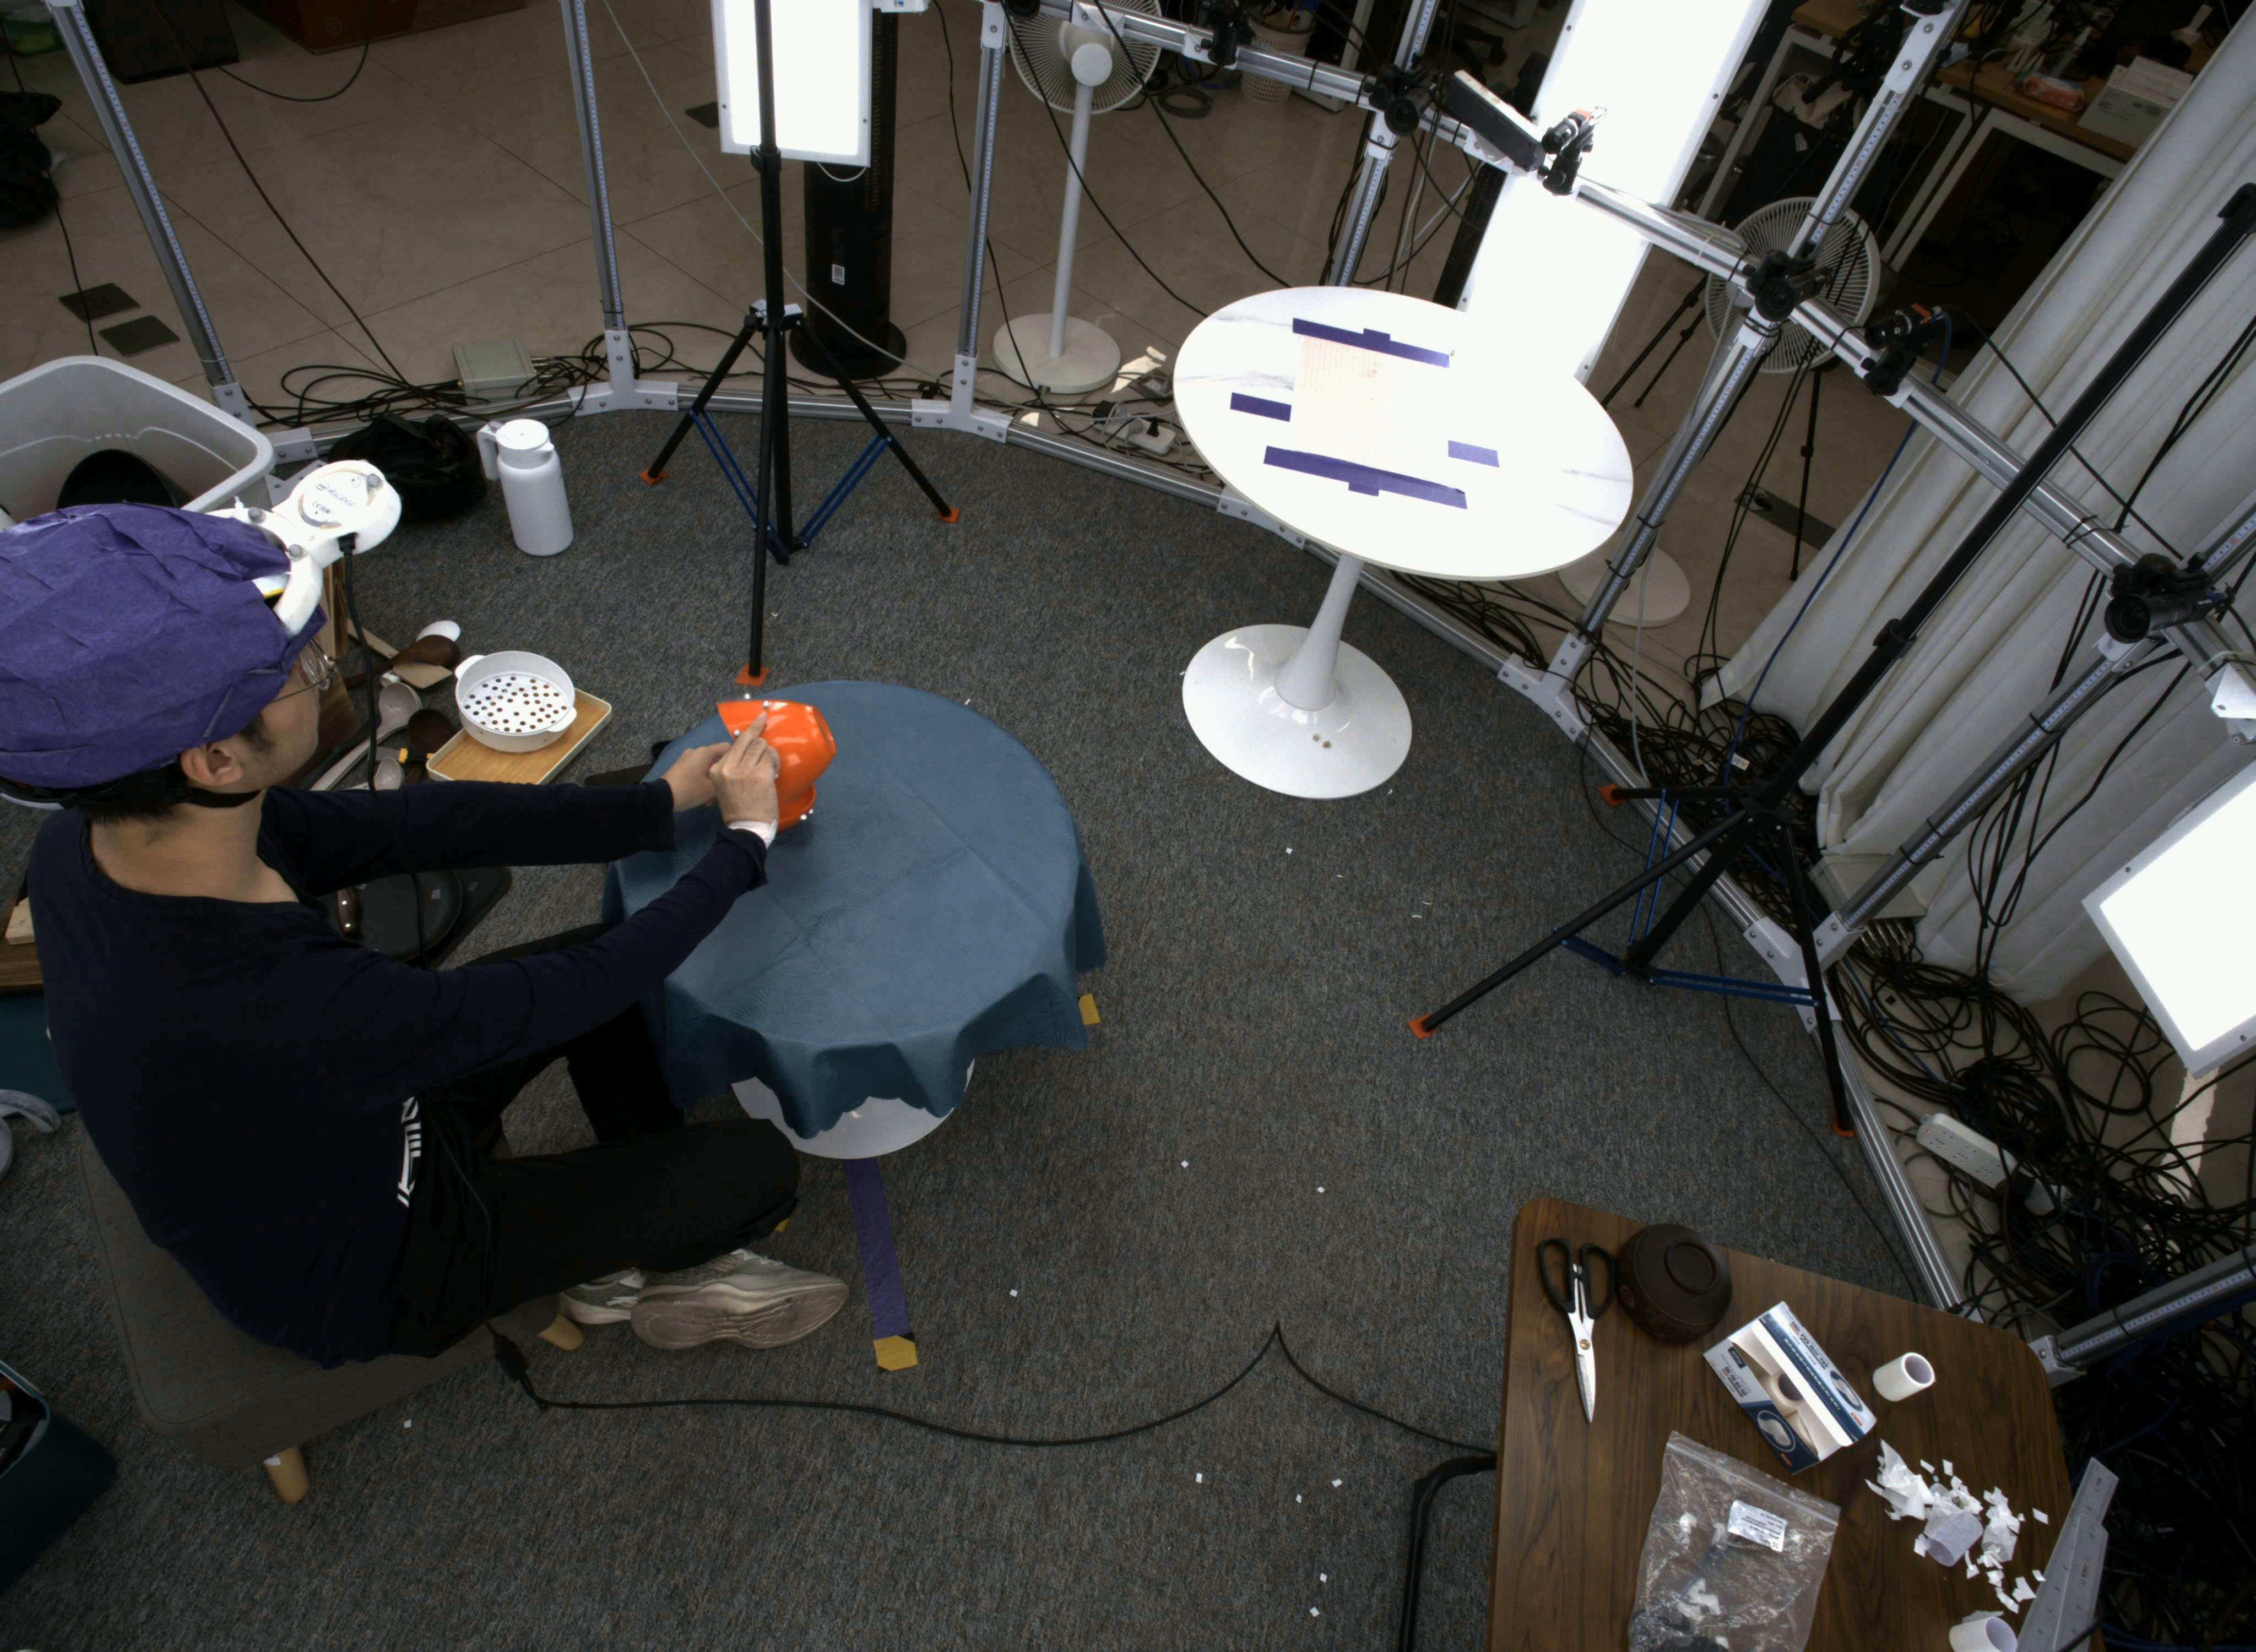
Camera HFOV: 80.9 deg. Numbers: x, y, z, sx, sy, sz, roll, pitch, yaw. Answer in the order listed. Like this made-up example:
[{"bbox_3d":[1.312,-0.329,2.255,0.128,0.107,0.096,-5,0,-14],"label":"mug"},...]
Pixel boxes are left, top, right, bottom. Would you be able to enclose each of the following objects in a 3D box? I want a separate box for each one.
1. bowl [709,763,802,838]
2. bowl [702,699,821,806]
[{"bbox_3d":[-0.491,-0.031,1.706,0.119,0.052,0.117,9,51,-10],"label":"bowl"},{"bbox_3d":[-0.443,-0.107,1.590,0.104,0.153,0.144,-24,59,-3],"label":"bowl"}]
